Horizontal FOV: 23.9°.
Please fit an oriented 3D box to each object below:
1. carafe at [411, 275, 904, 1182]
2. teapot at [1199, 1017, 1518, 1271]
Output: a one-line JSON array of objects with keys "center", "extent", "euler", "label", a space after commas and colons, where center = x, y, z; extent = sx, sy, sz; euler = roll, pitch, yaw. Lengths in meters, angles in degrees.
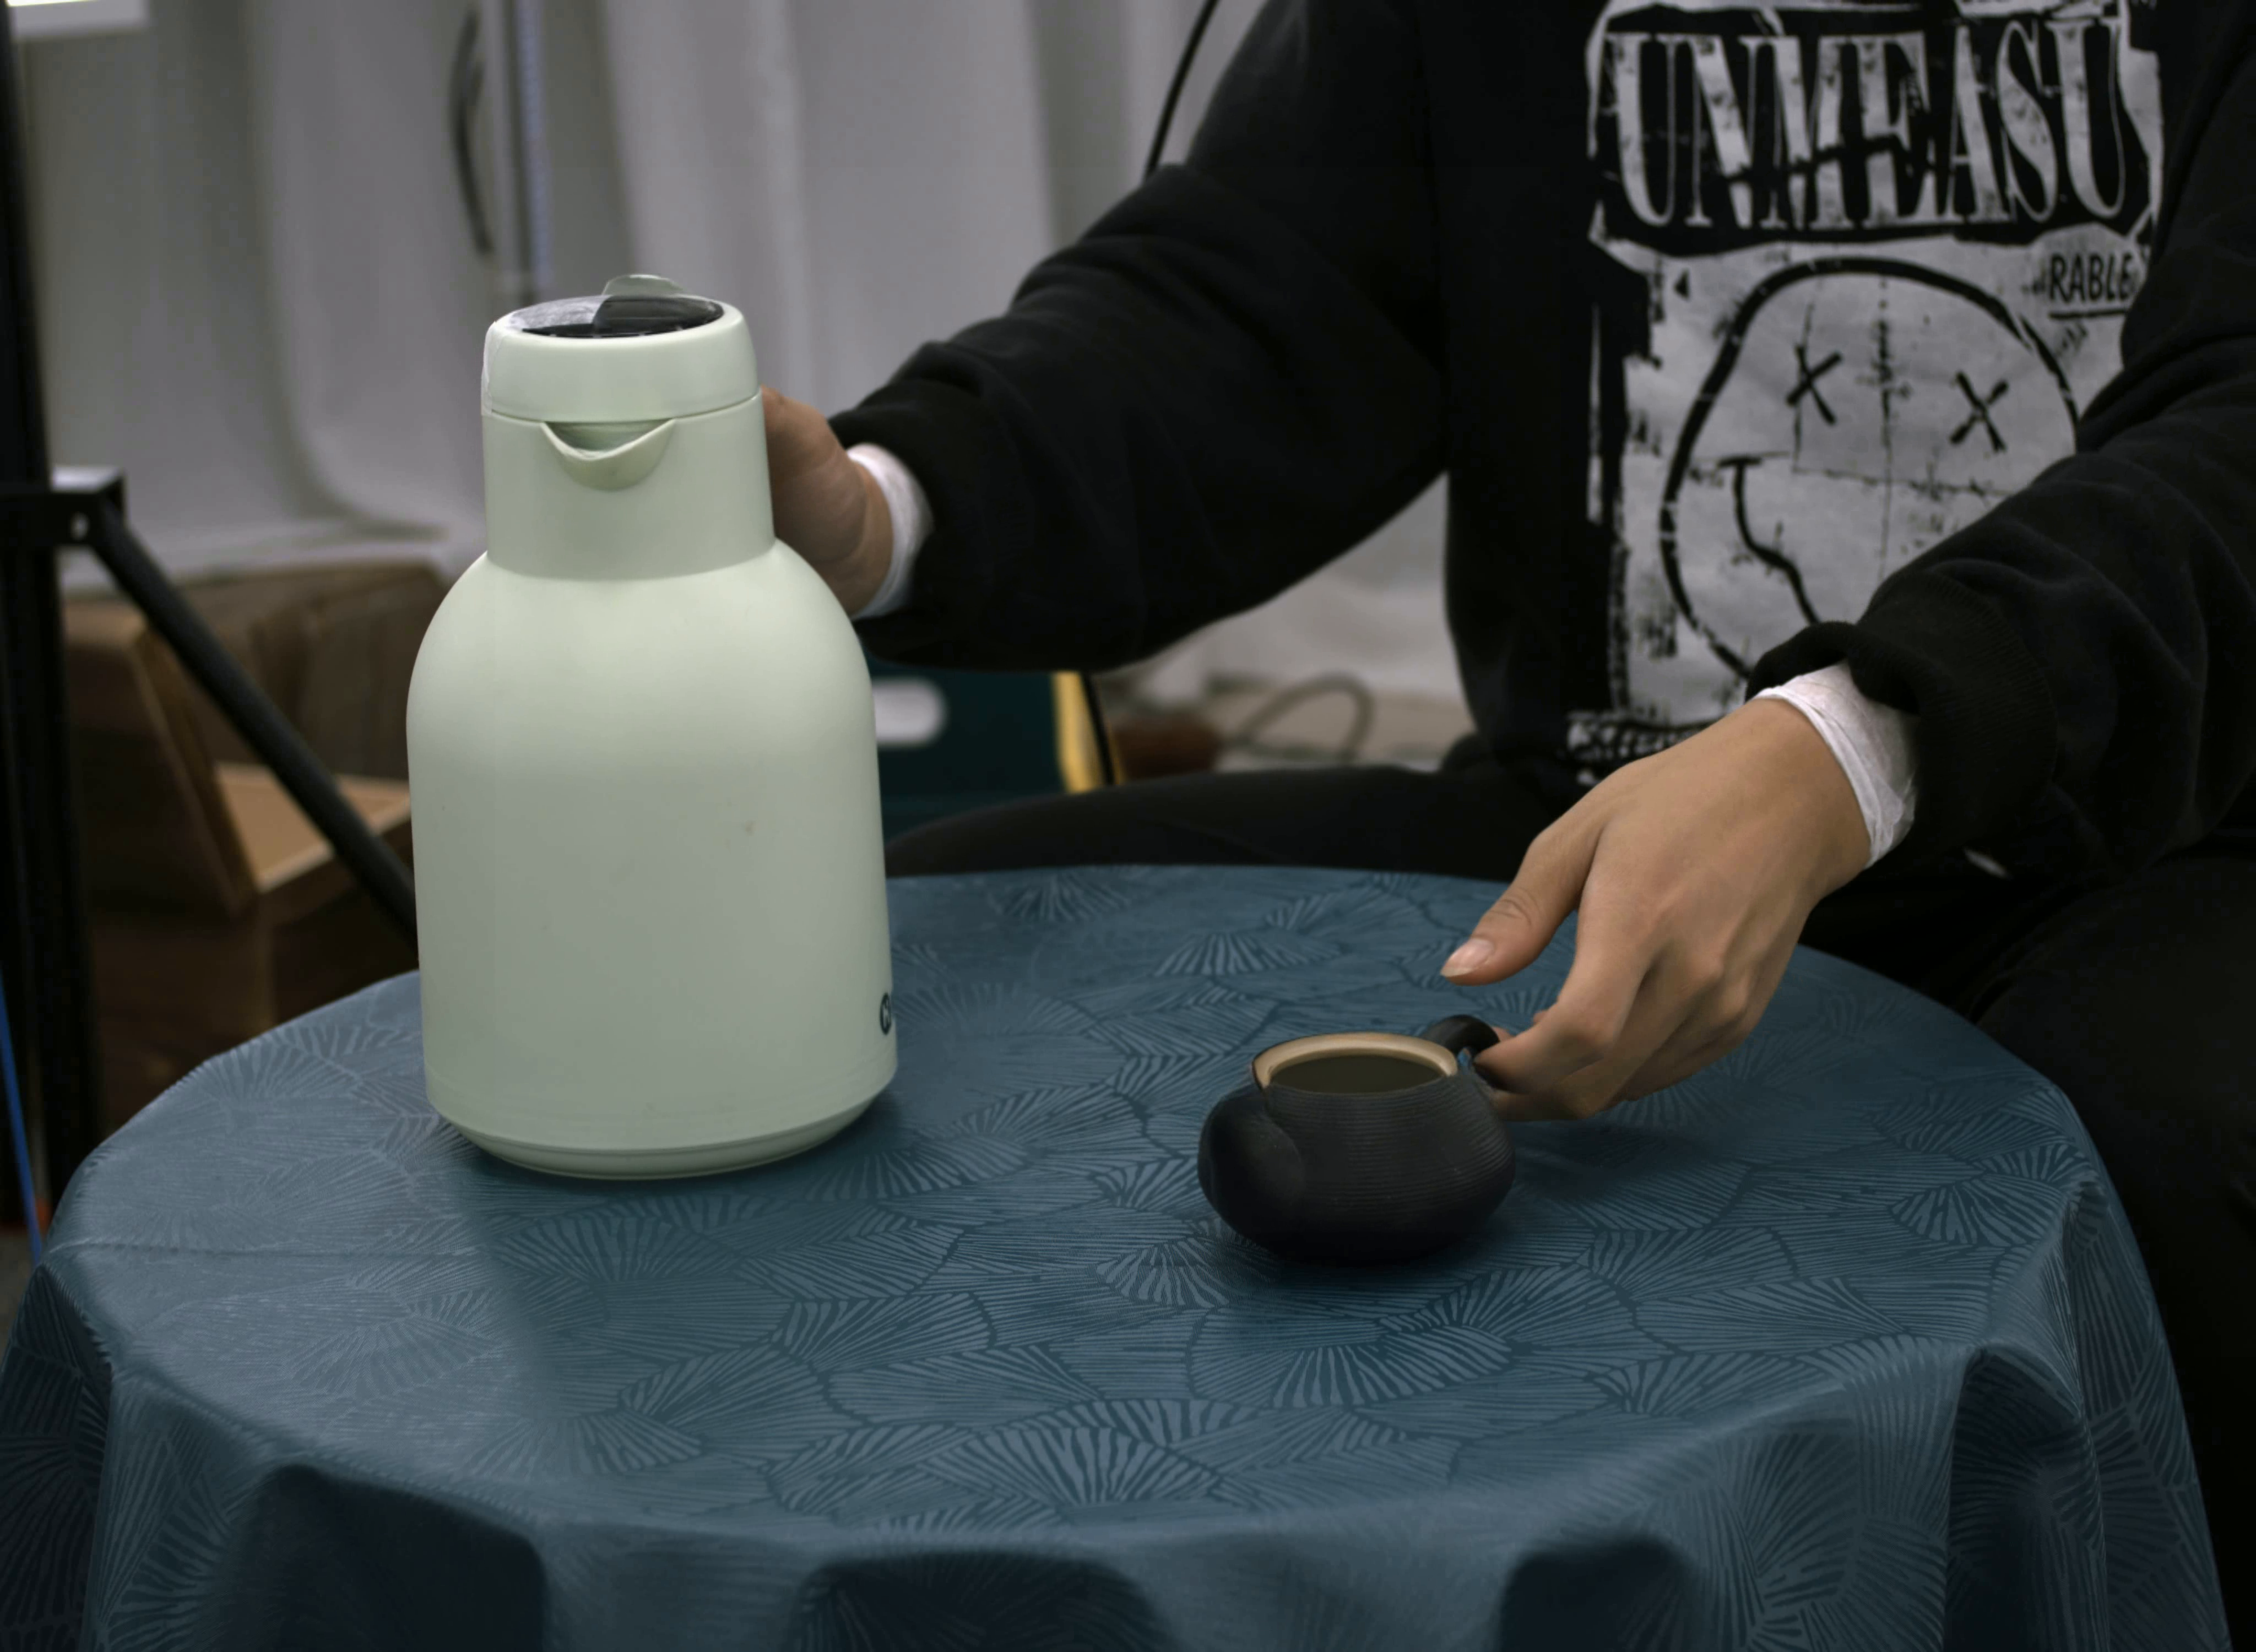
[{"center": [-0.146, -0.034, 1.625], "extent": [0.144, 0.257, 0.187], "euler": [-3, 12, 2], "label": "carafe"}, {"center": [0.066, 0.092, 1.502], "extent": [0.093, 0.053, 0.130], "euler": [13, 22, 40], "label": "teapot"}]
